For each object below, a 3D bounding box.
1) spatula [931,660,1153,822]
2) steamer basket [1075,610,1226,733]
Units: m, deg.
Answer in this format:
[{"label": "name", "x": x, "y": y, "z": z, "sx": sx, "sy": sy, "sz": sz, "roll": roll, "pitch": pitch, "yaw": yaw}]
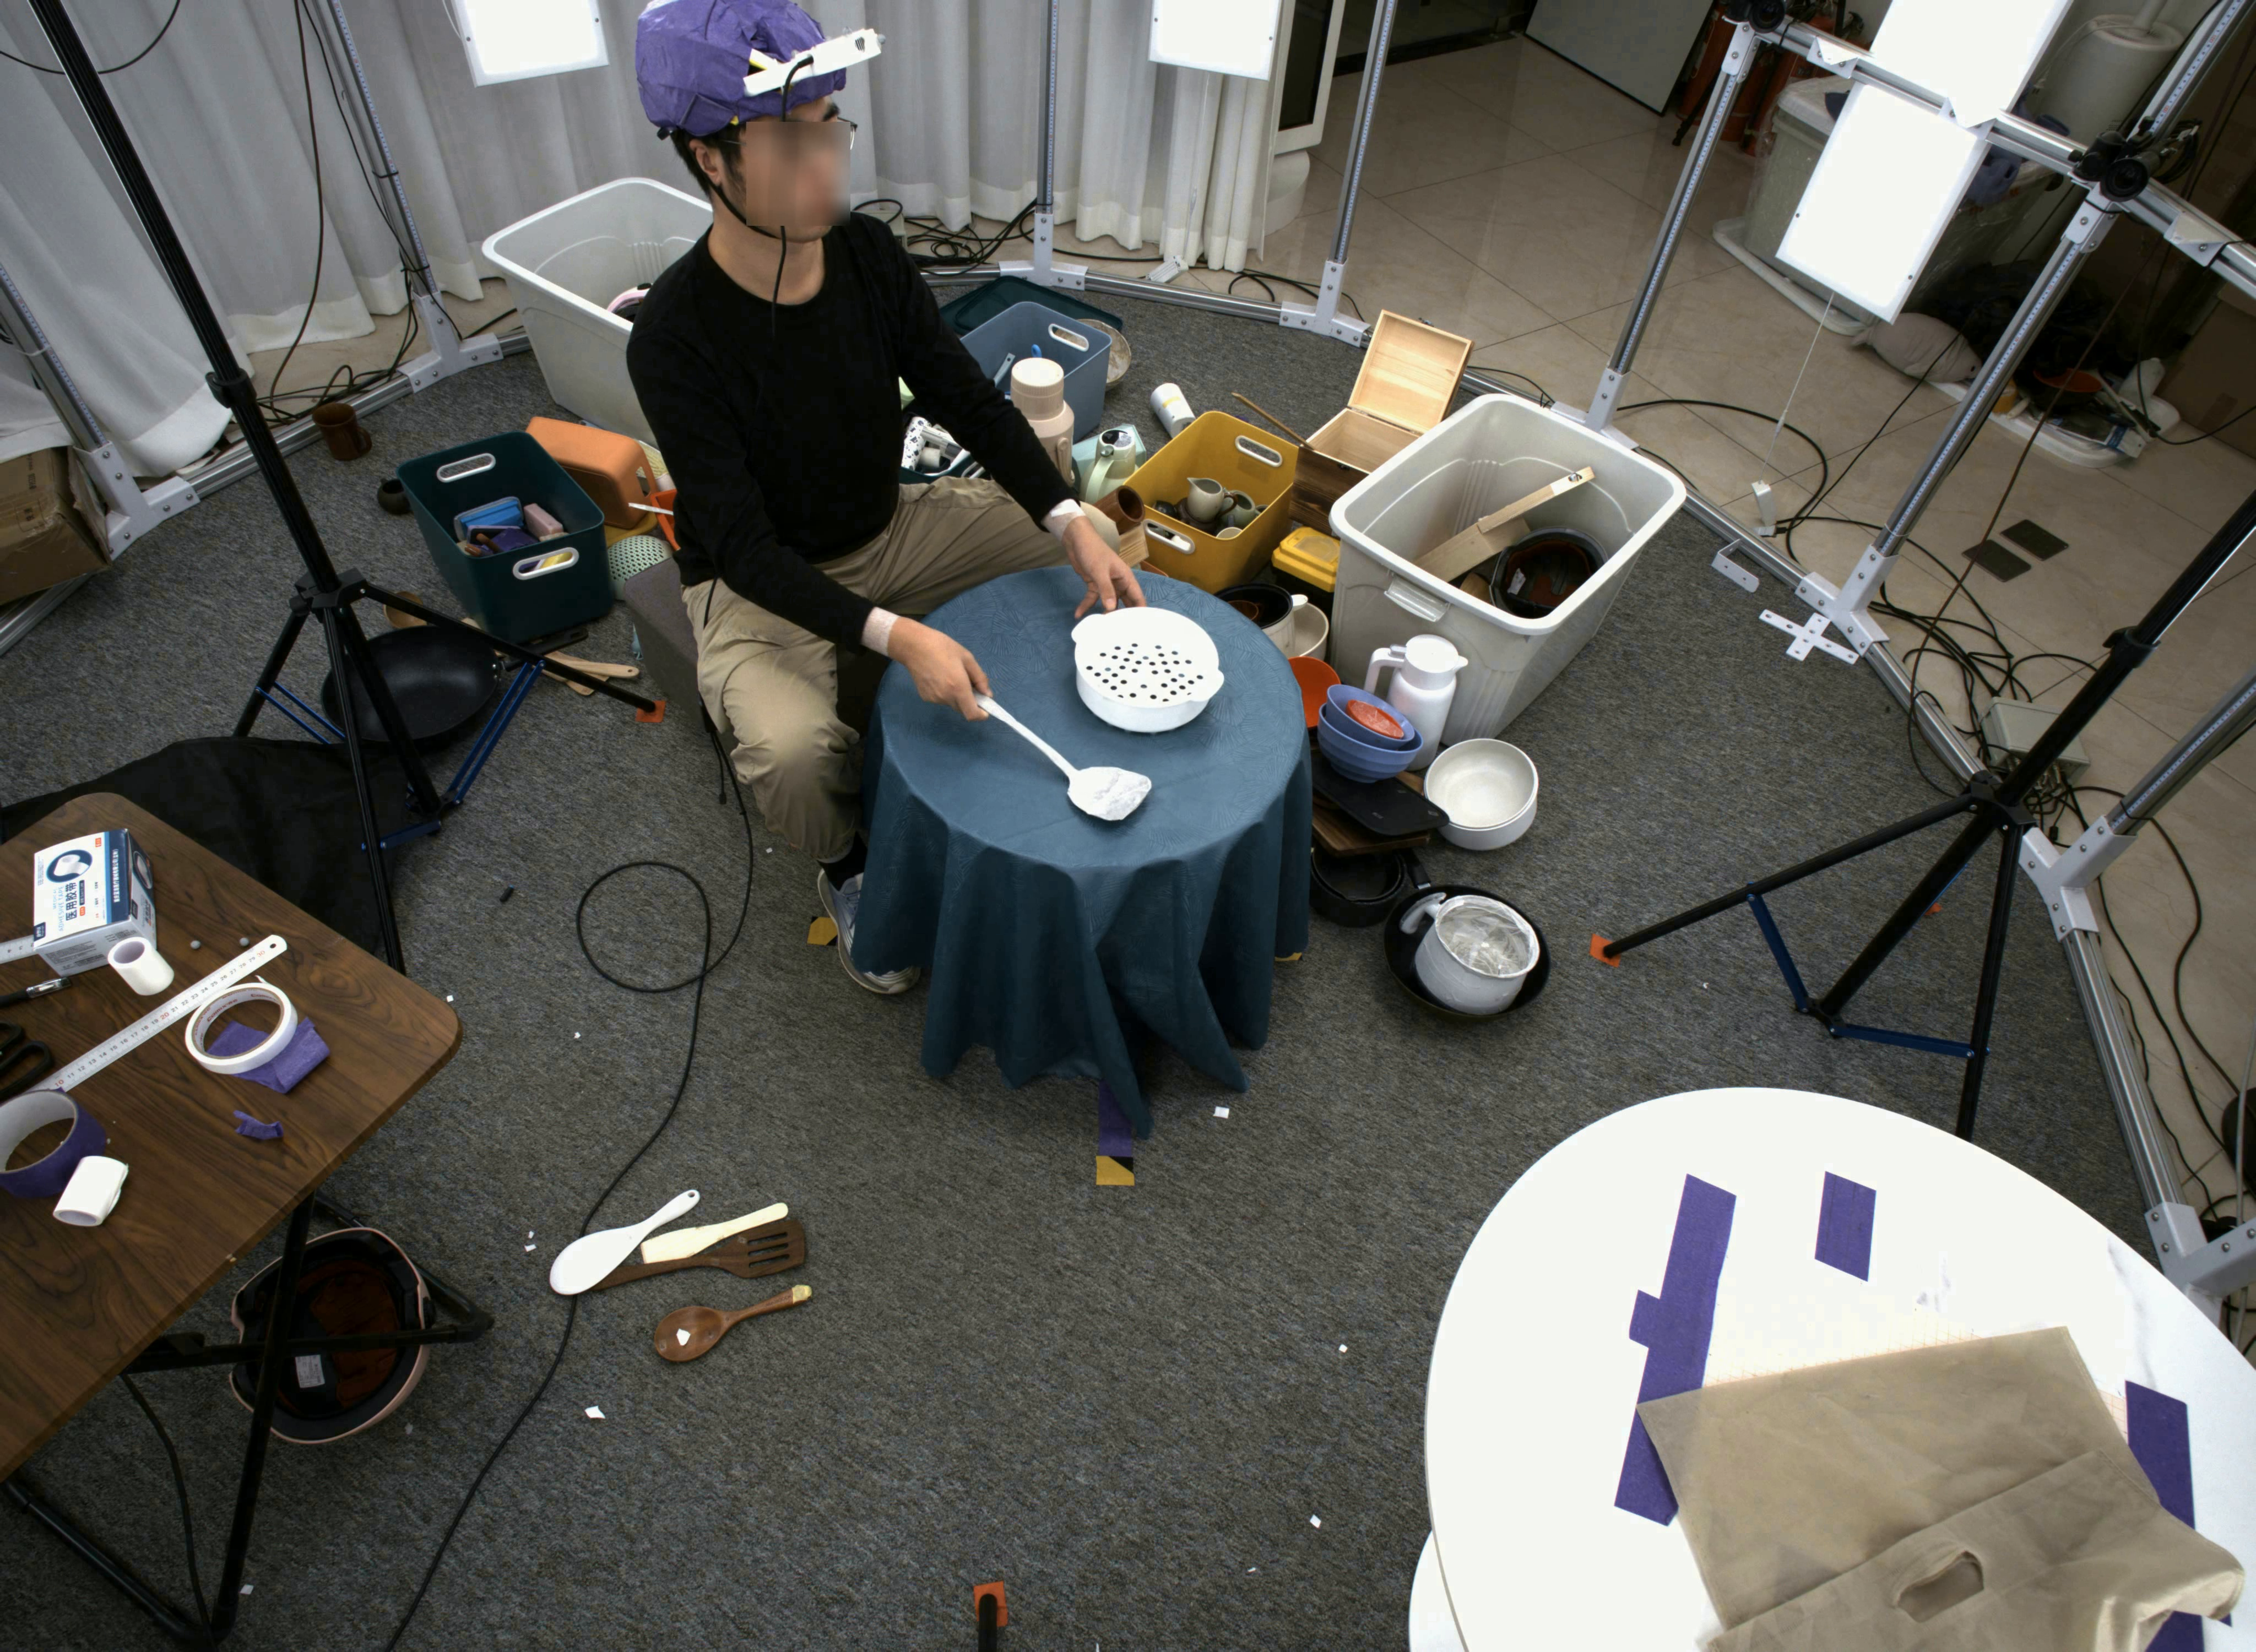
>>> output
[{"label": "spatula", "x": -0.130, "y": -0.125, "z": 1.719, "sx": 0.367, "sy": 0.044, "sz": 0.100, "roll": 37, "pitch": 56, "yaw": 12}, {"label": "steamer basket", "x": 0.029, "y": -0.218, "z": 1.816, "sx": 0.233, "sy": 0.067, "sz": 0.205, "roll": 28, "pitch": 52, "yaw": 20}]
